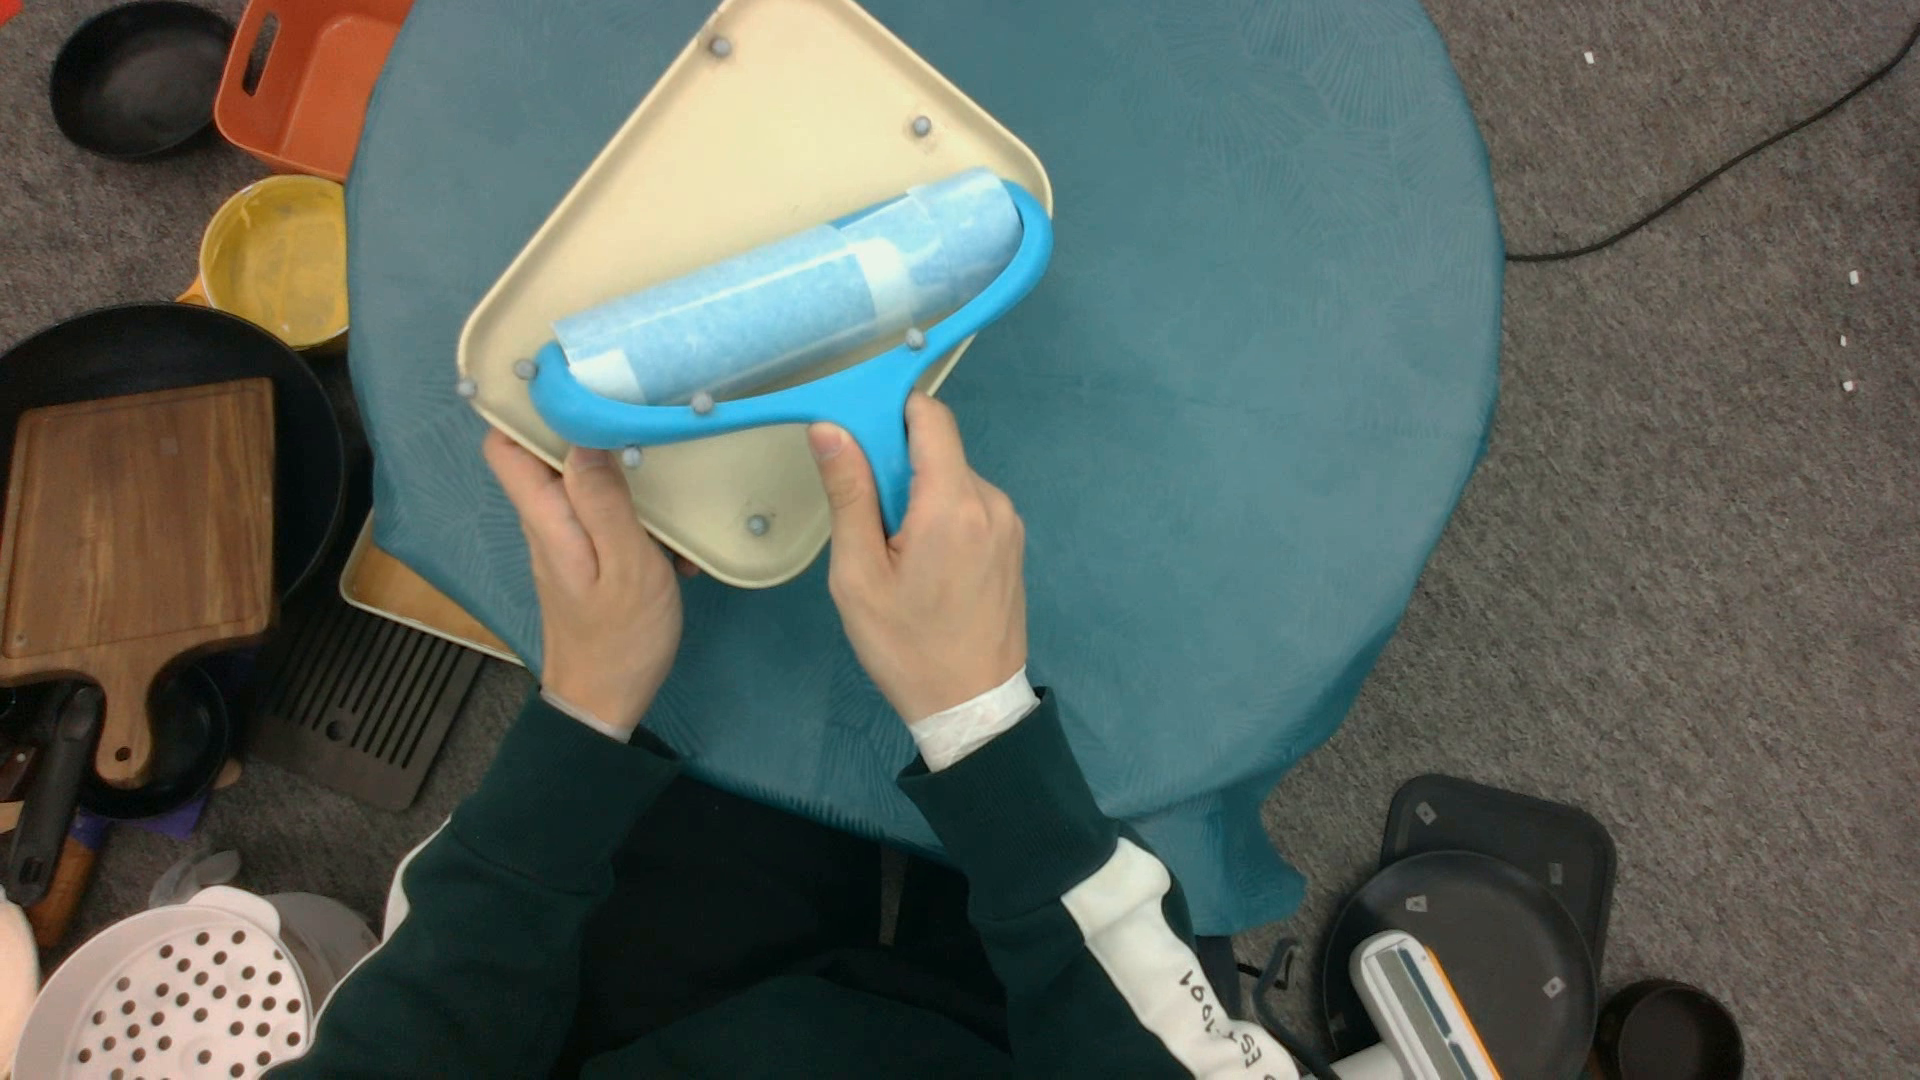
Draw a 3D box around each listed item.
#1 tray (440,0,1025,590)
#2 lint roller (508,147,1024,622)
[{"bbox_3d":[-0.091,-0.112,0.593,0.171,0.017,0.240,35,79,-12],"label":"tray"},{"bbox_3d":[-0.047,-0.053,0.566,0.229,0.067,0.180,-29,82,-17],"label":"lint roller"}]
